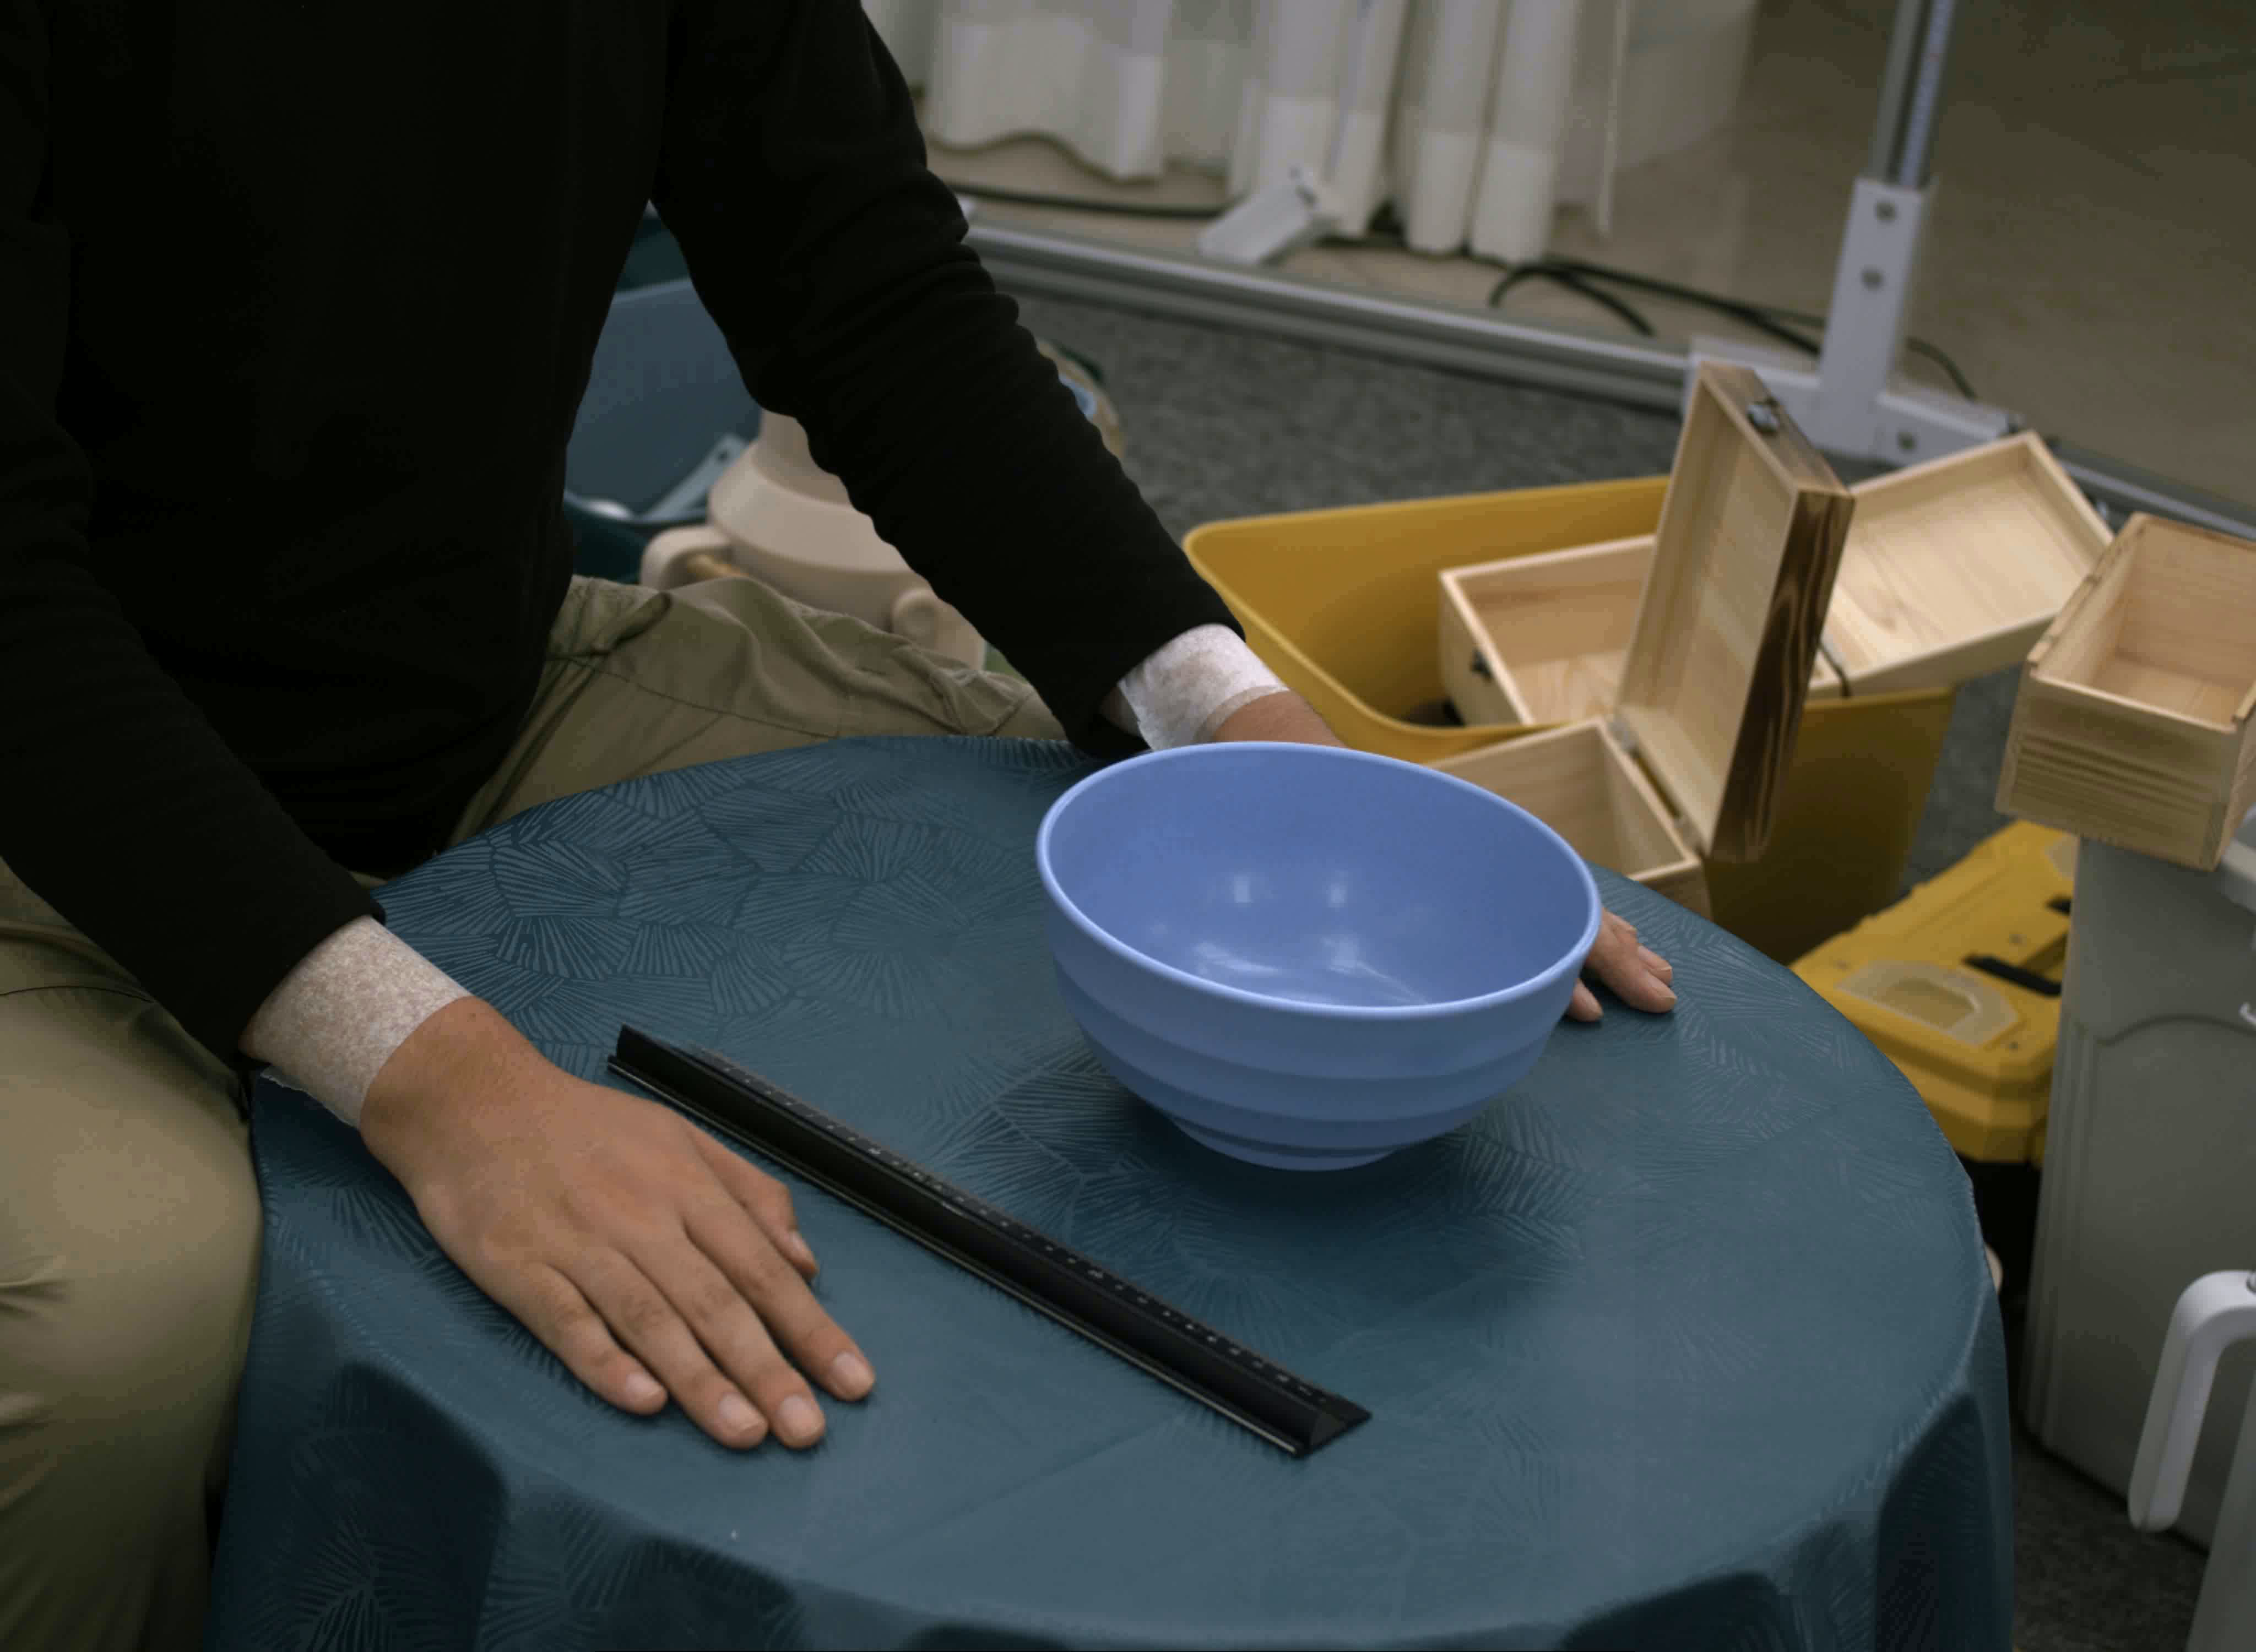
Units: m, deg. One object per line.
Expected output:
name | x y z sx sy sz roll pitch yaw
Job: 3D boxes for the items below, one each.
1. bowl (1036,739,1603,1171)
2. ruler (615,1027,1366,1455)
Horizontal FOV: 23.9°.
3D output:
bowl | 0.060 0.056 1.844 0.196 0.095 0.198 6 27 -3
ruler | -0.049 0.130 1.762 0.315 0.017 0.039 26 29 34
